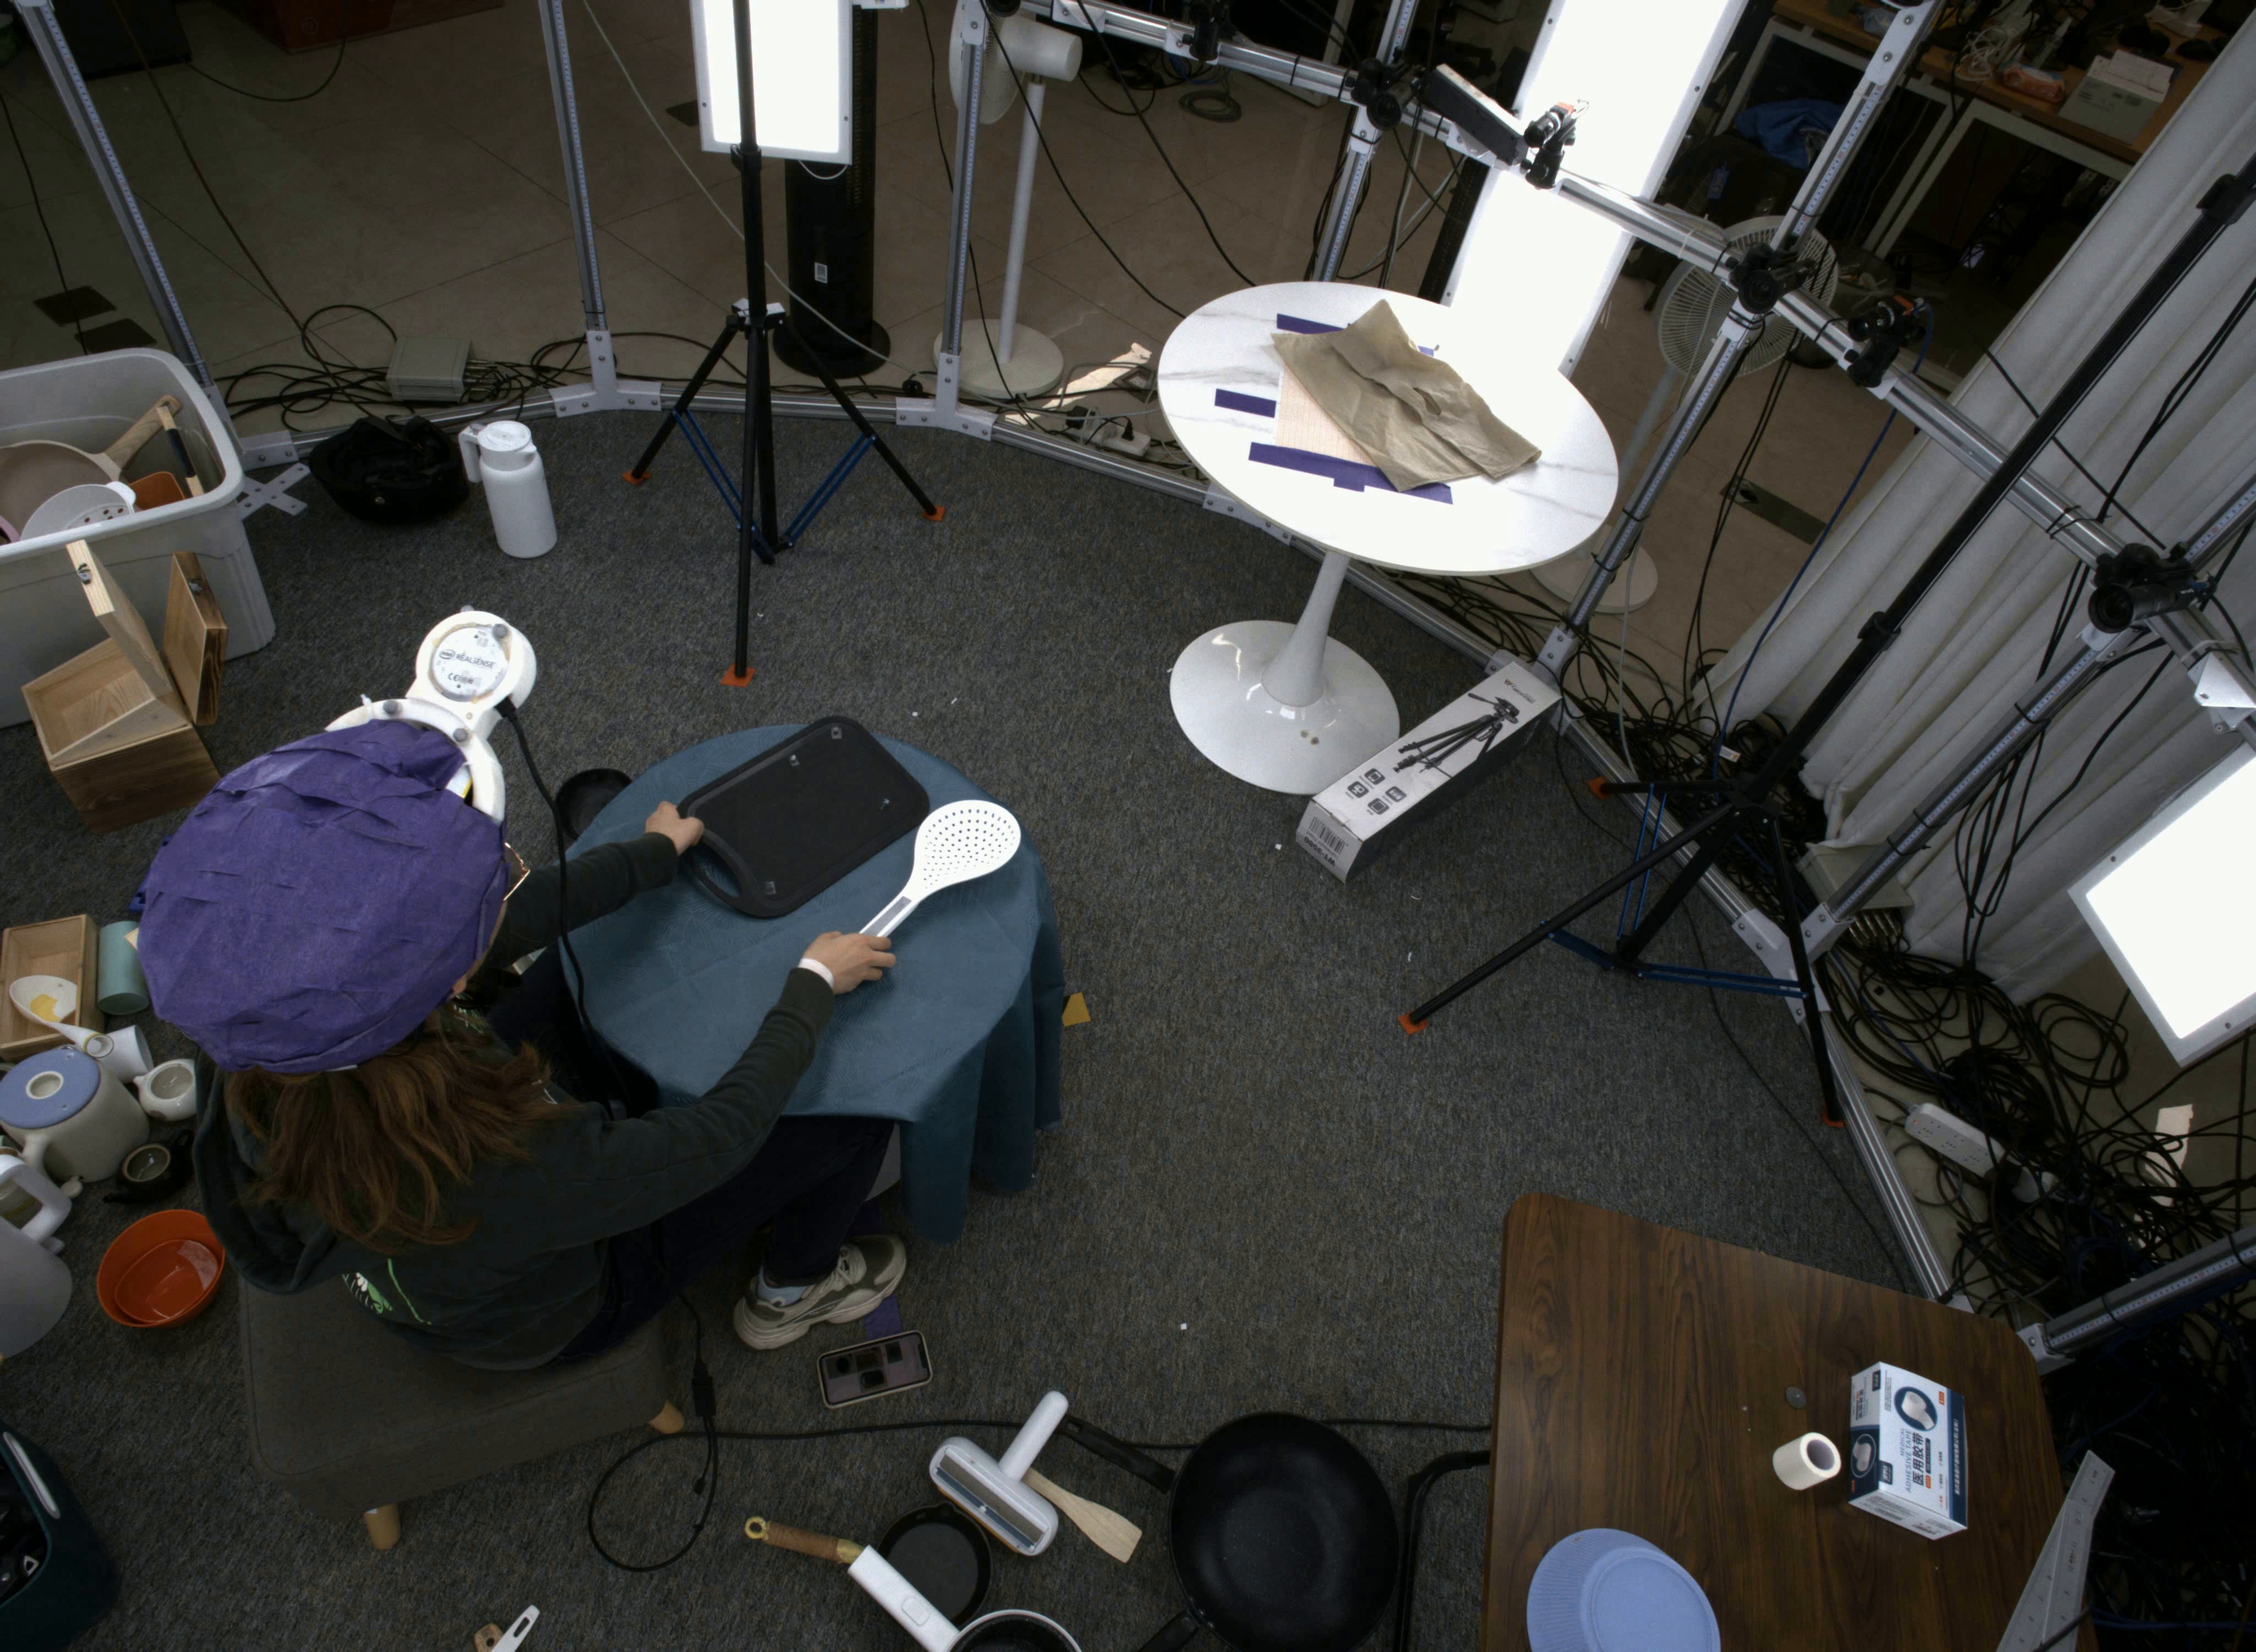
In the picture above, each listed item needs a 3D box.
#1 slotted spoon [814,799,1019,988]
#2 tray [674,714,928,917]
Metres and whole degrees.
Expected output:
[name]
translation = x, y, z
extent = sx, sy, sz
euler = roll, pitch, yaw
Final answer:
[slotted spoon]
translation = -0.272, 0.083, 1.666
extent = 0.132, 0.047, 0.349
euler = 28, 48, 21
[tray]
translation = -0.433, -0.018, 1.715
extent = 0.208, 0.010, 0.326
euler = 46, 55, 9
